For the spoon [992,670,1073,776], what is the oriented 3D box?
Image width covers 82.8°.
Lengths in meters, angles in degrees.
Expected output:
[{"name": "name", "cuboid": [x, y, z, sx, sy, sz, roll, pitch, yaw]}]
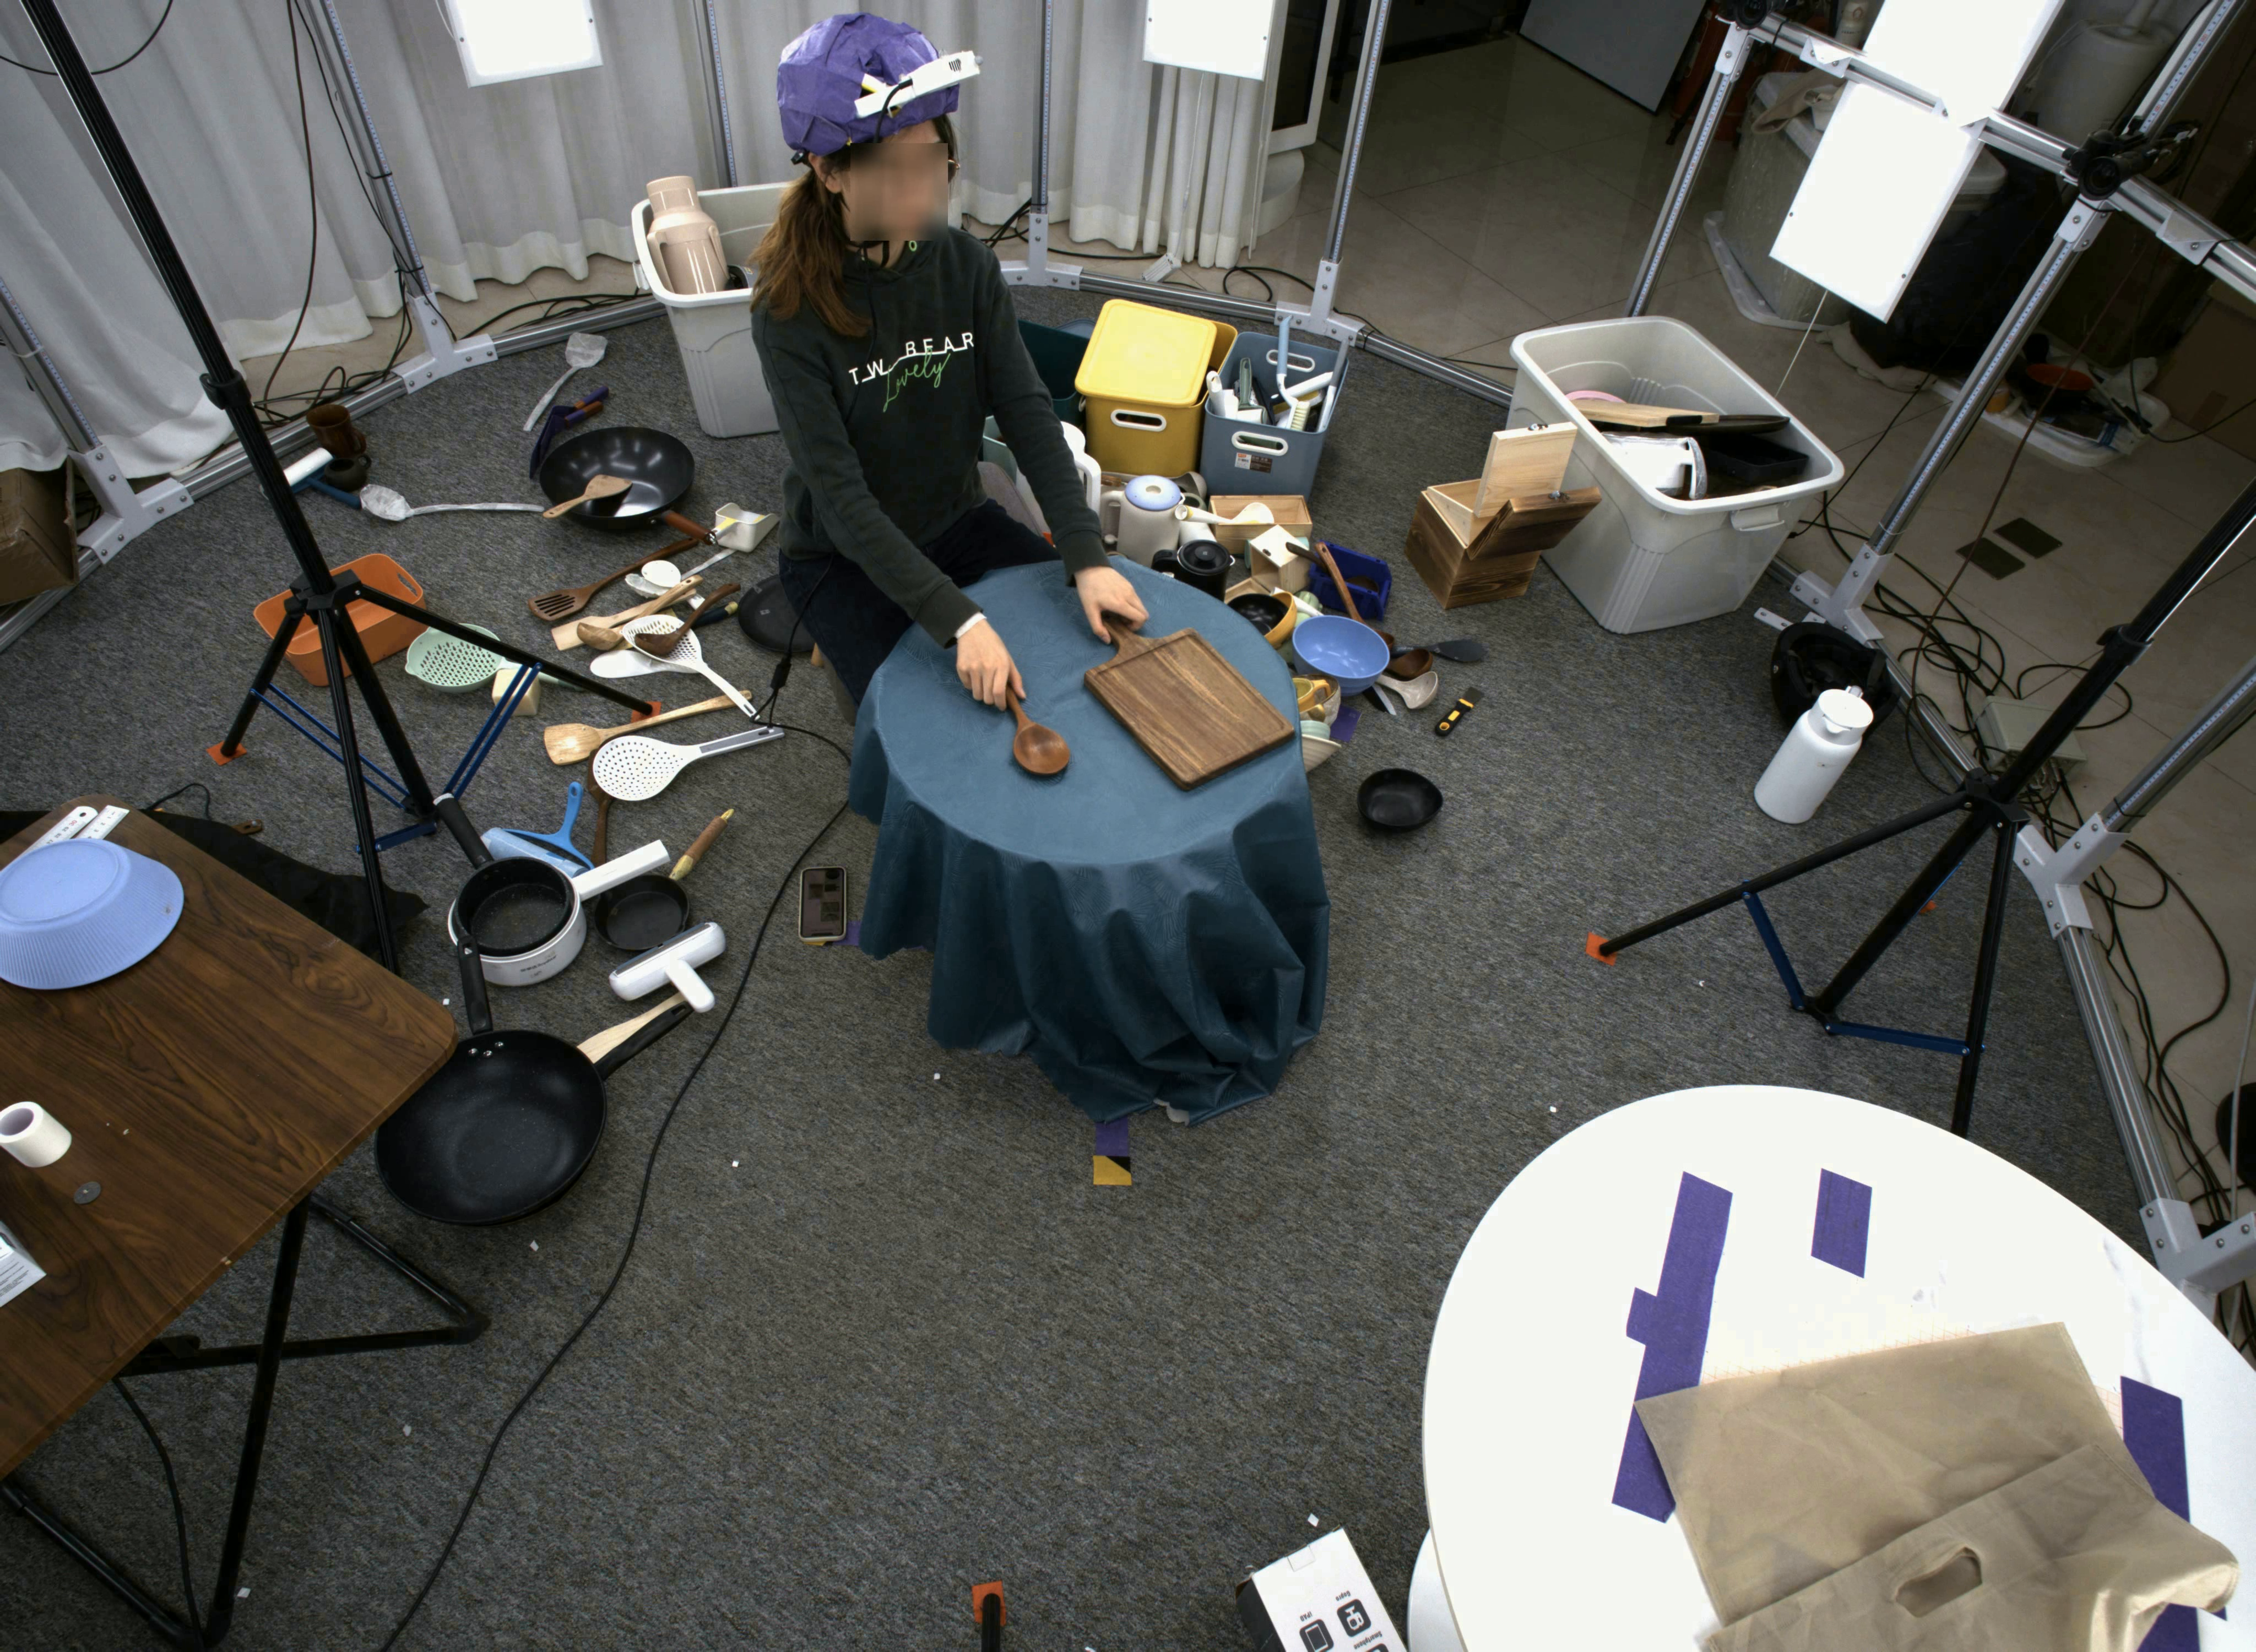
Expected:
[{"name": "spoon", "cuboid": [-0.142, -0.144, 1.789, 0.075, 0.017, 0.221, -18, 53, -17]}]

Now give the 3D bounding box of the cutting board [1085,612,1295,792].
[{"name": "cutting board", "cuboid": [0.058, -0.202, 1.853, 0.202, 0.022, 0.359, -26, 55, -23]}]
